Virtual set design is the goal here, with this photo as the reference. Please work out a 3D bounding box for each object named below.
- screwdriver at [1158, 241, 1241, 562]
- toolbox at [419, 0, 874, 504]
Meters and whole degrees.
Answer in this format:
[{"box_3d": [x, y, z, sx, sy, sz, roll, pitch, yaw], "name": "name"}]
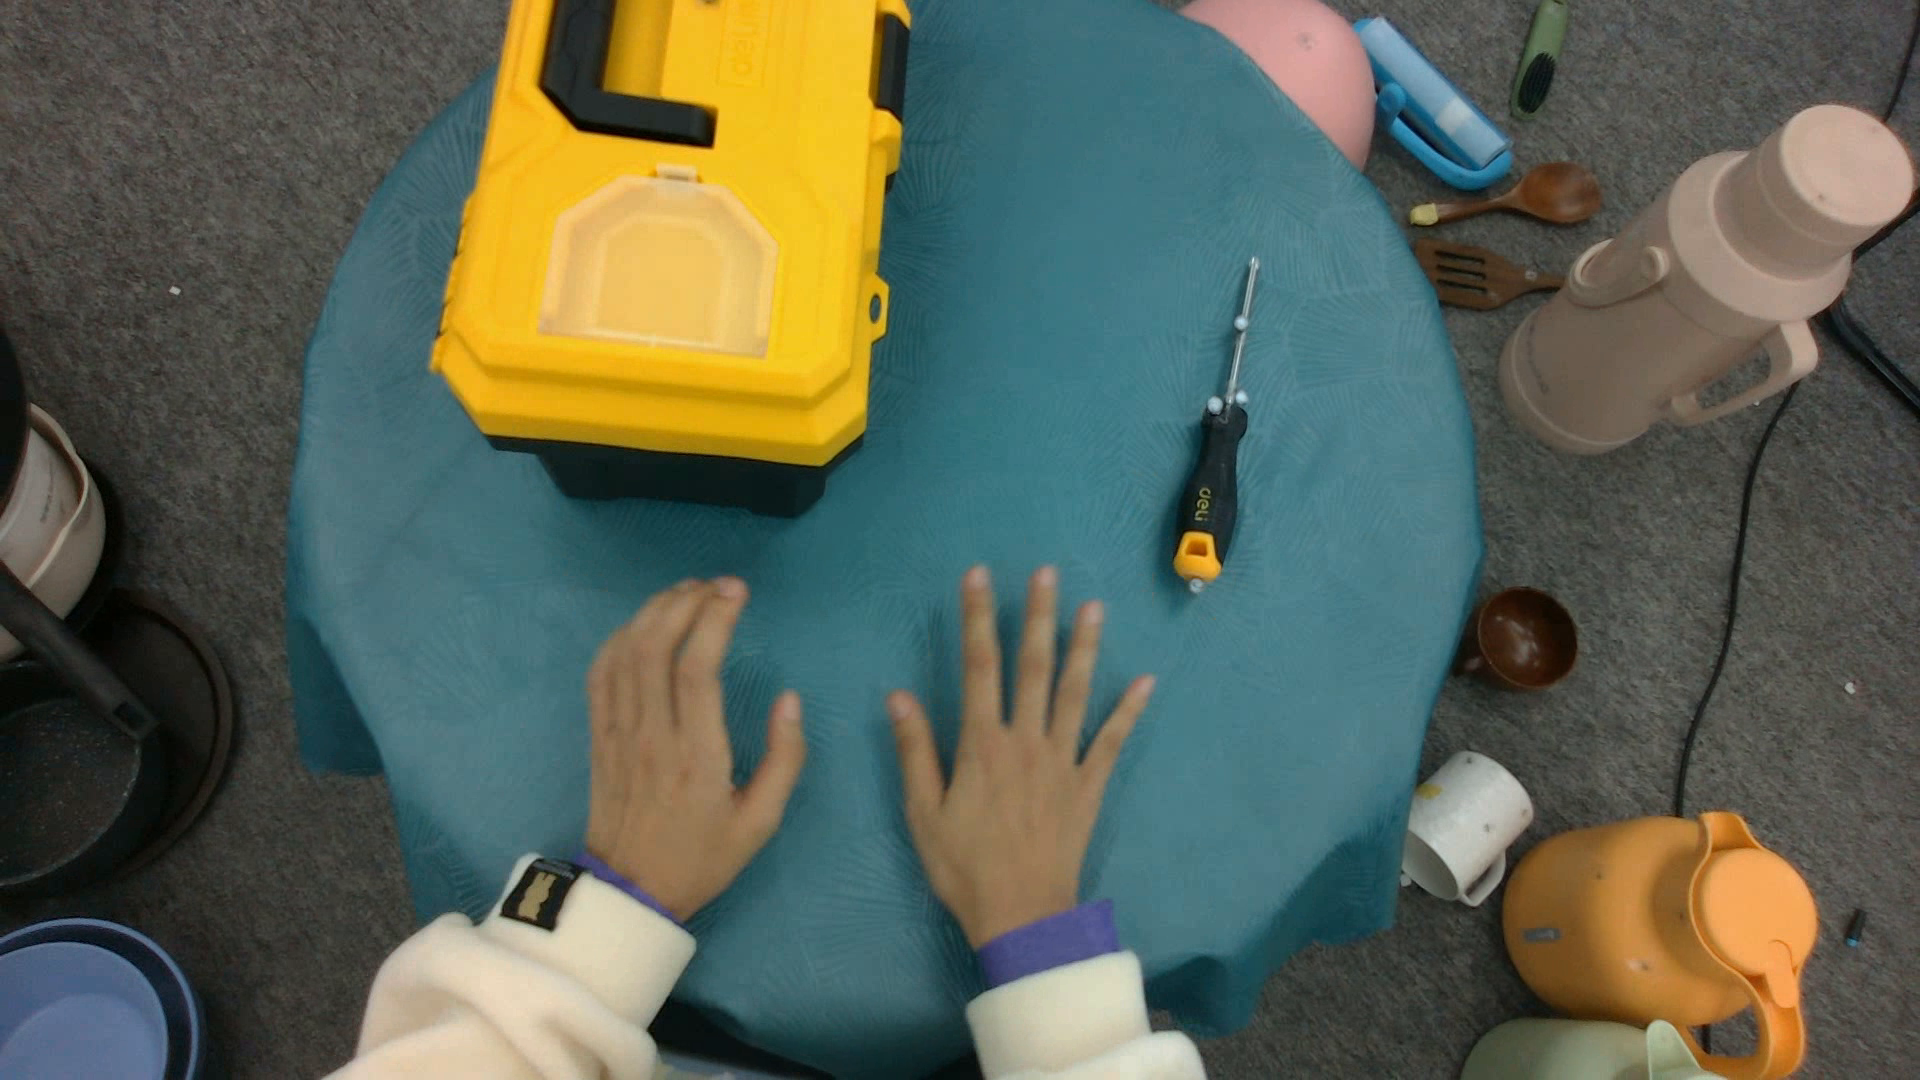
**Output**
[{"box_3d": [0.130, -0.079, 0.715, 0.031, 0.031, 0.197, 15, 69, -3], "name": "screwdriver"}, {"box_3d": [-0.126, -0.196, 0.642, 0.181, 0.172, 0.352, 5, 71, -6], "name": "toolbox"}]
